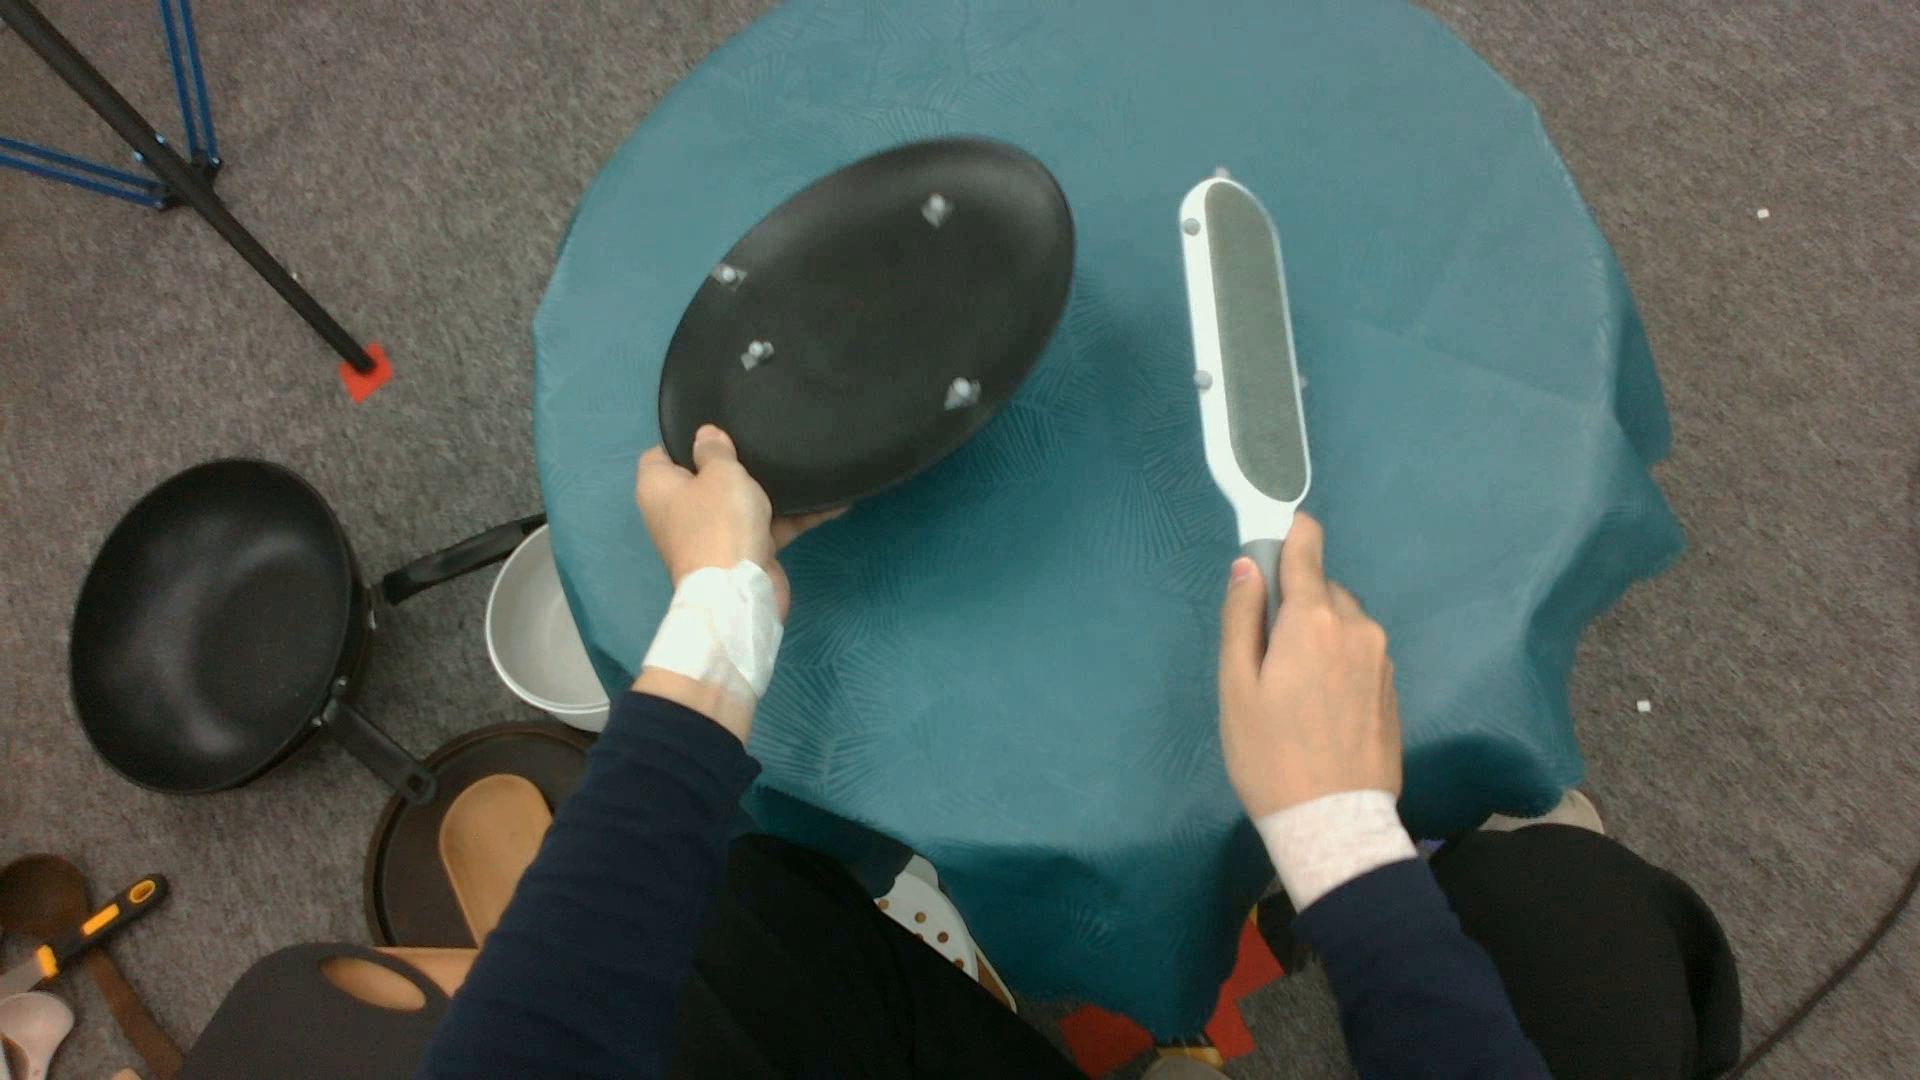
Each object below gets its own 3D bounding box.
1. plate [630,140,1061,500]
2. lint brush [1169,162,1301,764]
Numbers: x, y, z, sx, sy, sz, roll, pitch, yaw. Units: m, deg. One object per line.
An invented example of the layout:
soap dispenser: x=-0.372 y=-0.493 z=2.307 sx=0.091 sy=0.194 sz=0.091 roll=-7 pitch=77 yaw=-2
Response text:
plate: x=-0.060 y=-0.116 z=0.715 sx=0.244 sy=0.023 sz=0.245 roll=-13 pitch=51 yaw=17
lint brush: x=0.130 y=-0.048 z=0.643 sx=0.021 sy=0.060 sz=0.310 roll=-26 pitch=56 yaw=45
